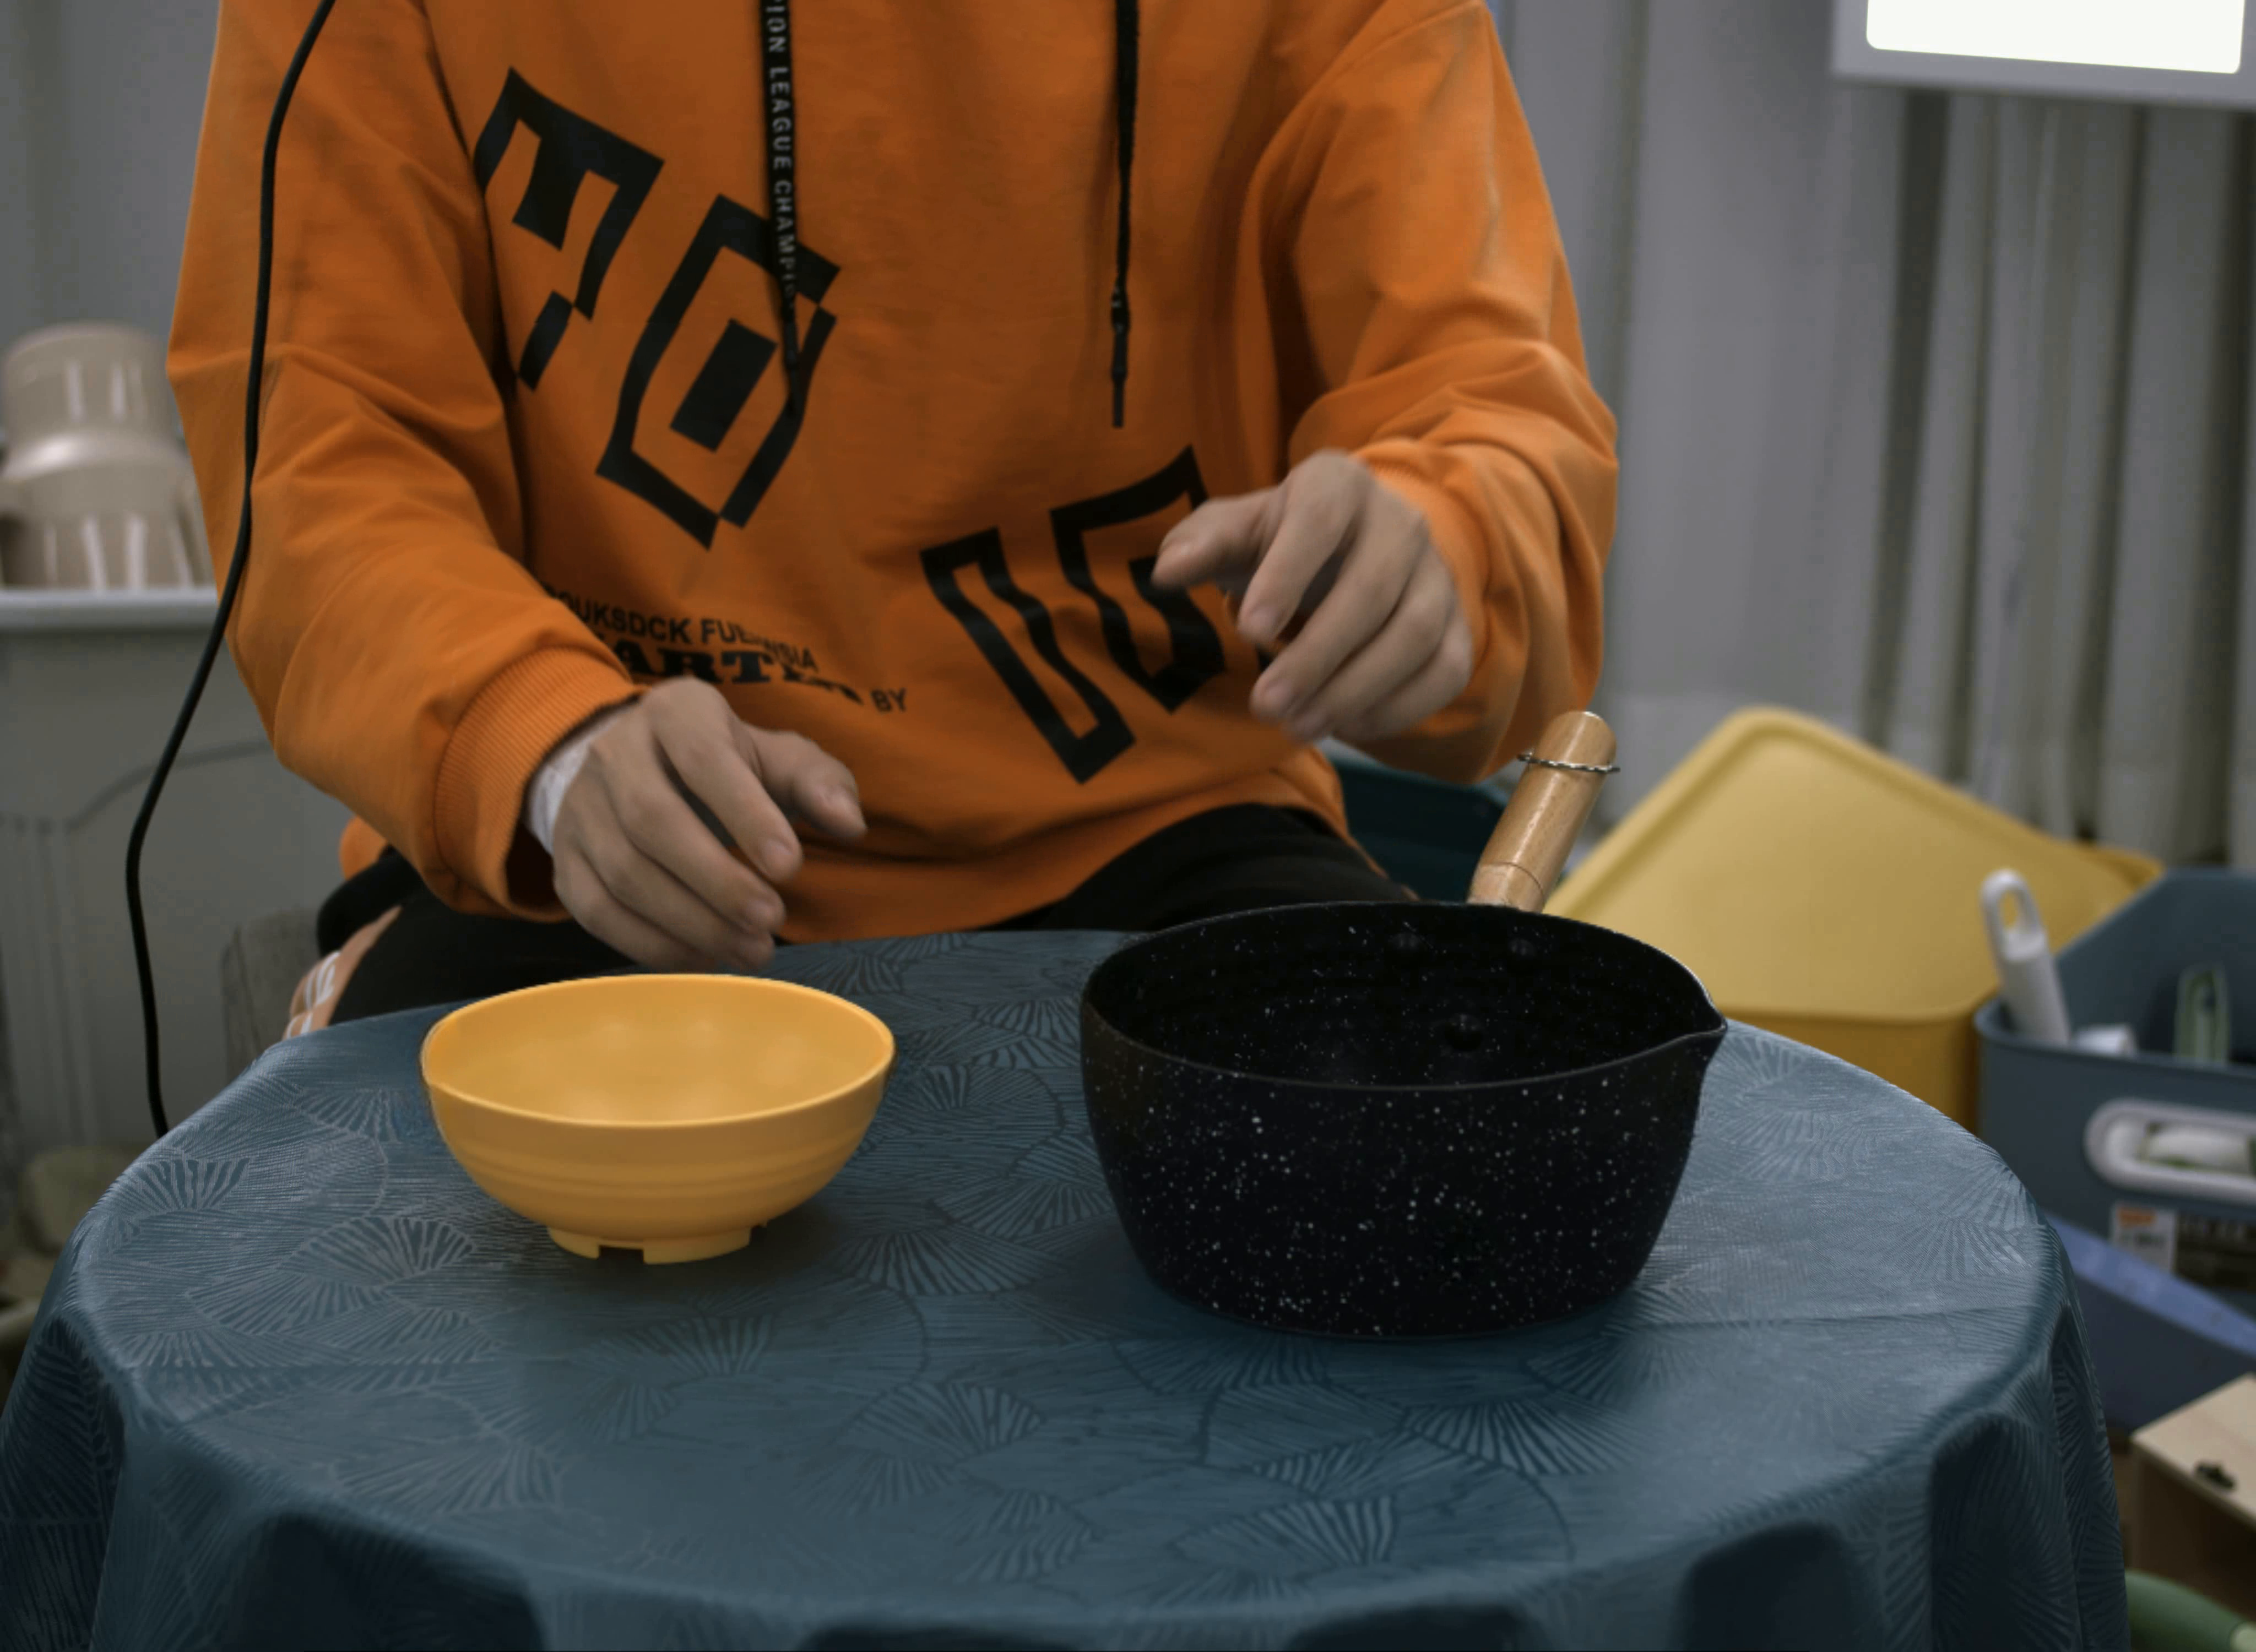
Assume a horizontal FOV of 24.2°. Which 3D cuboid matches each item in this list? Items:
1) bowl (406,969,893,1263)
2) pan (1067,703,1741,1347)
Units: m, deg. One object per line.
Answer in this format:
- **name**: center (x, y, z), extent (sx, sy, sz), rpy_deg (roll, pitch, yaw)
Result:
- **bowl**: center (-0.143, 0.093, 1.580), extent (0.145, 0.060, 0.144), rpy_deg (2, 16, 0)
- **pan**: center (0.101, 0.056, 1.626), extent (0.206, 0.109, 0.342), rpy_deg (4, 17, 16)
